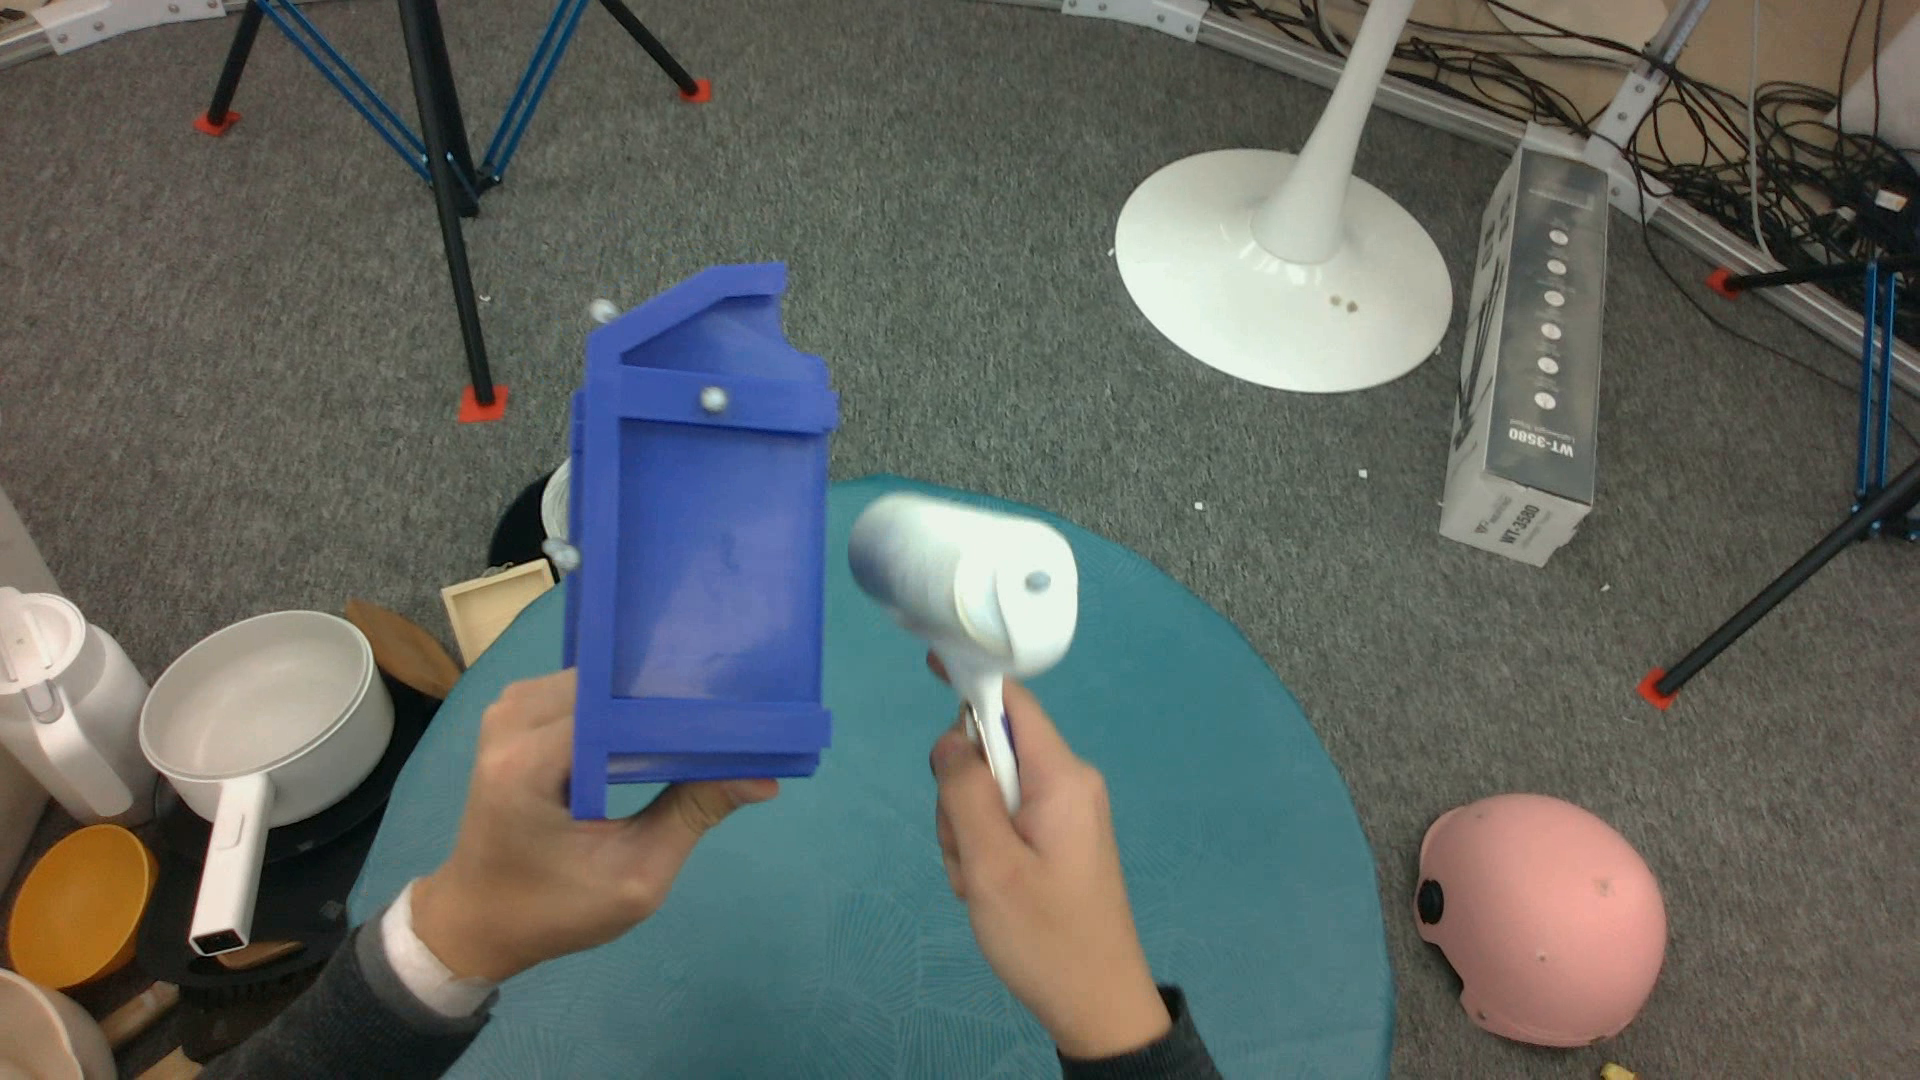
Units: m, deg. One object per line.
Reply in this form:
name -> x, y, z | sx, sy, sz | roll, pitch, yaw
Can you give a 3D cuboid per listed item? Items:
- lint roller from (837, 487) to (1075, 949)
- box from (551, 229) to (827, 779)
lint roller -> 0.015, 0.068, 0.516 | 0.050, 0.133, 0.180 | -26, 106, -23
box -> -0.102, -0.012, 0.500 | 0.082, 0.124, 0.179 | 1, 87, -19
